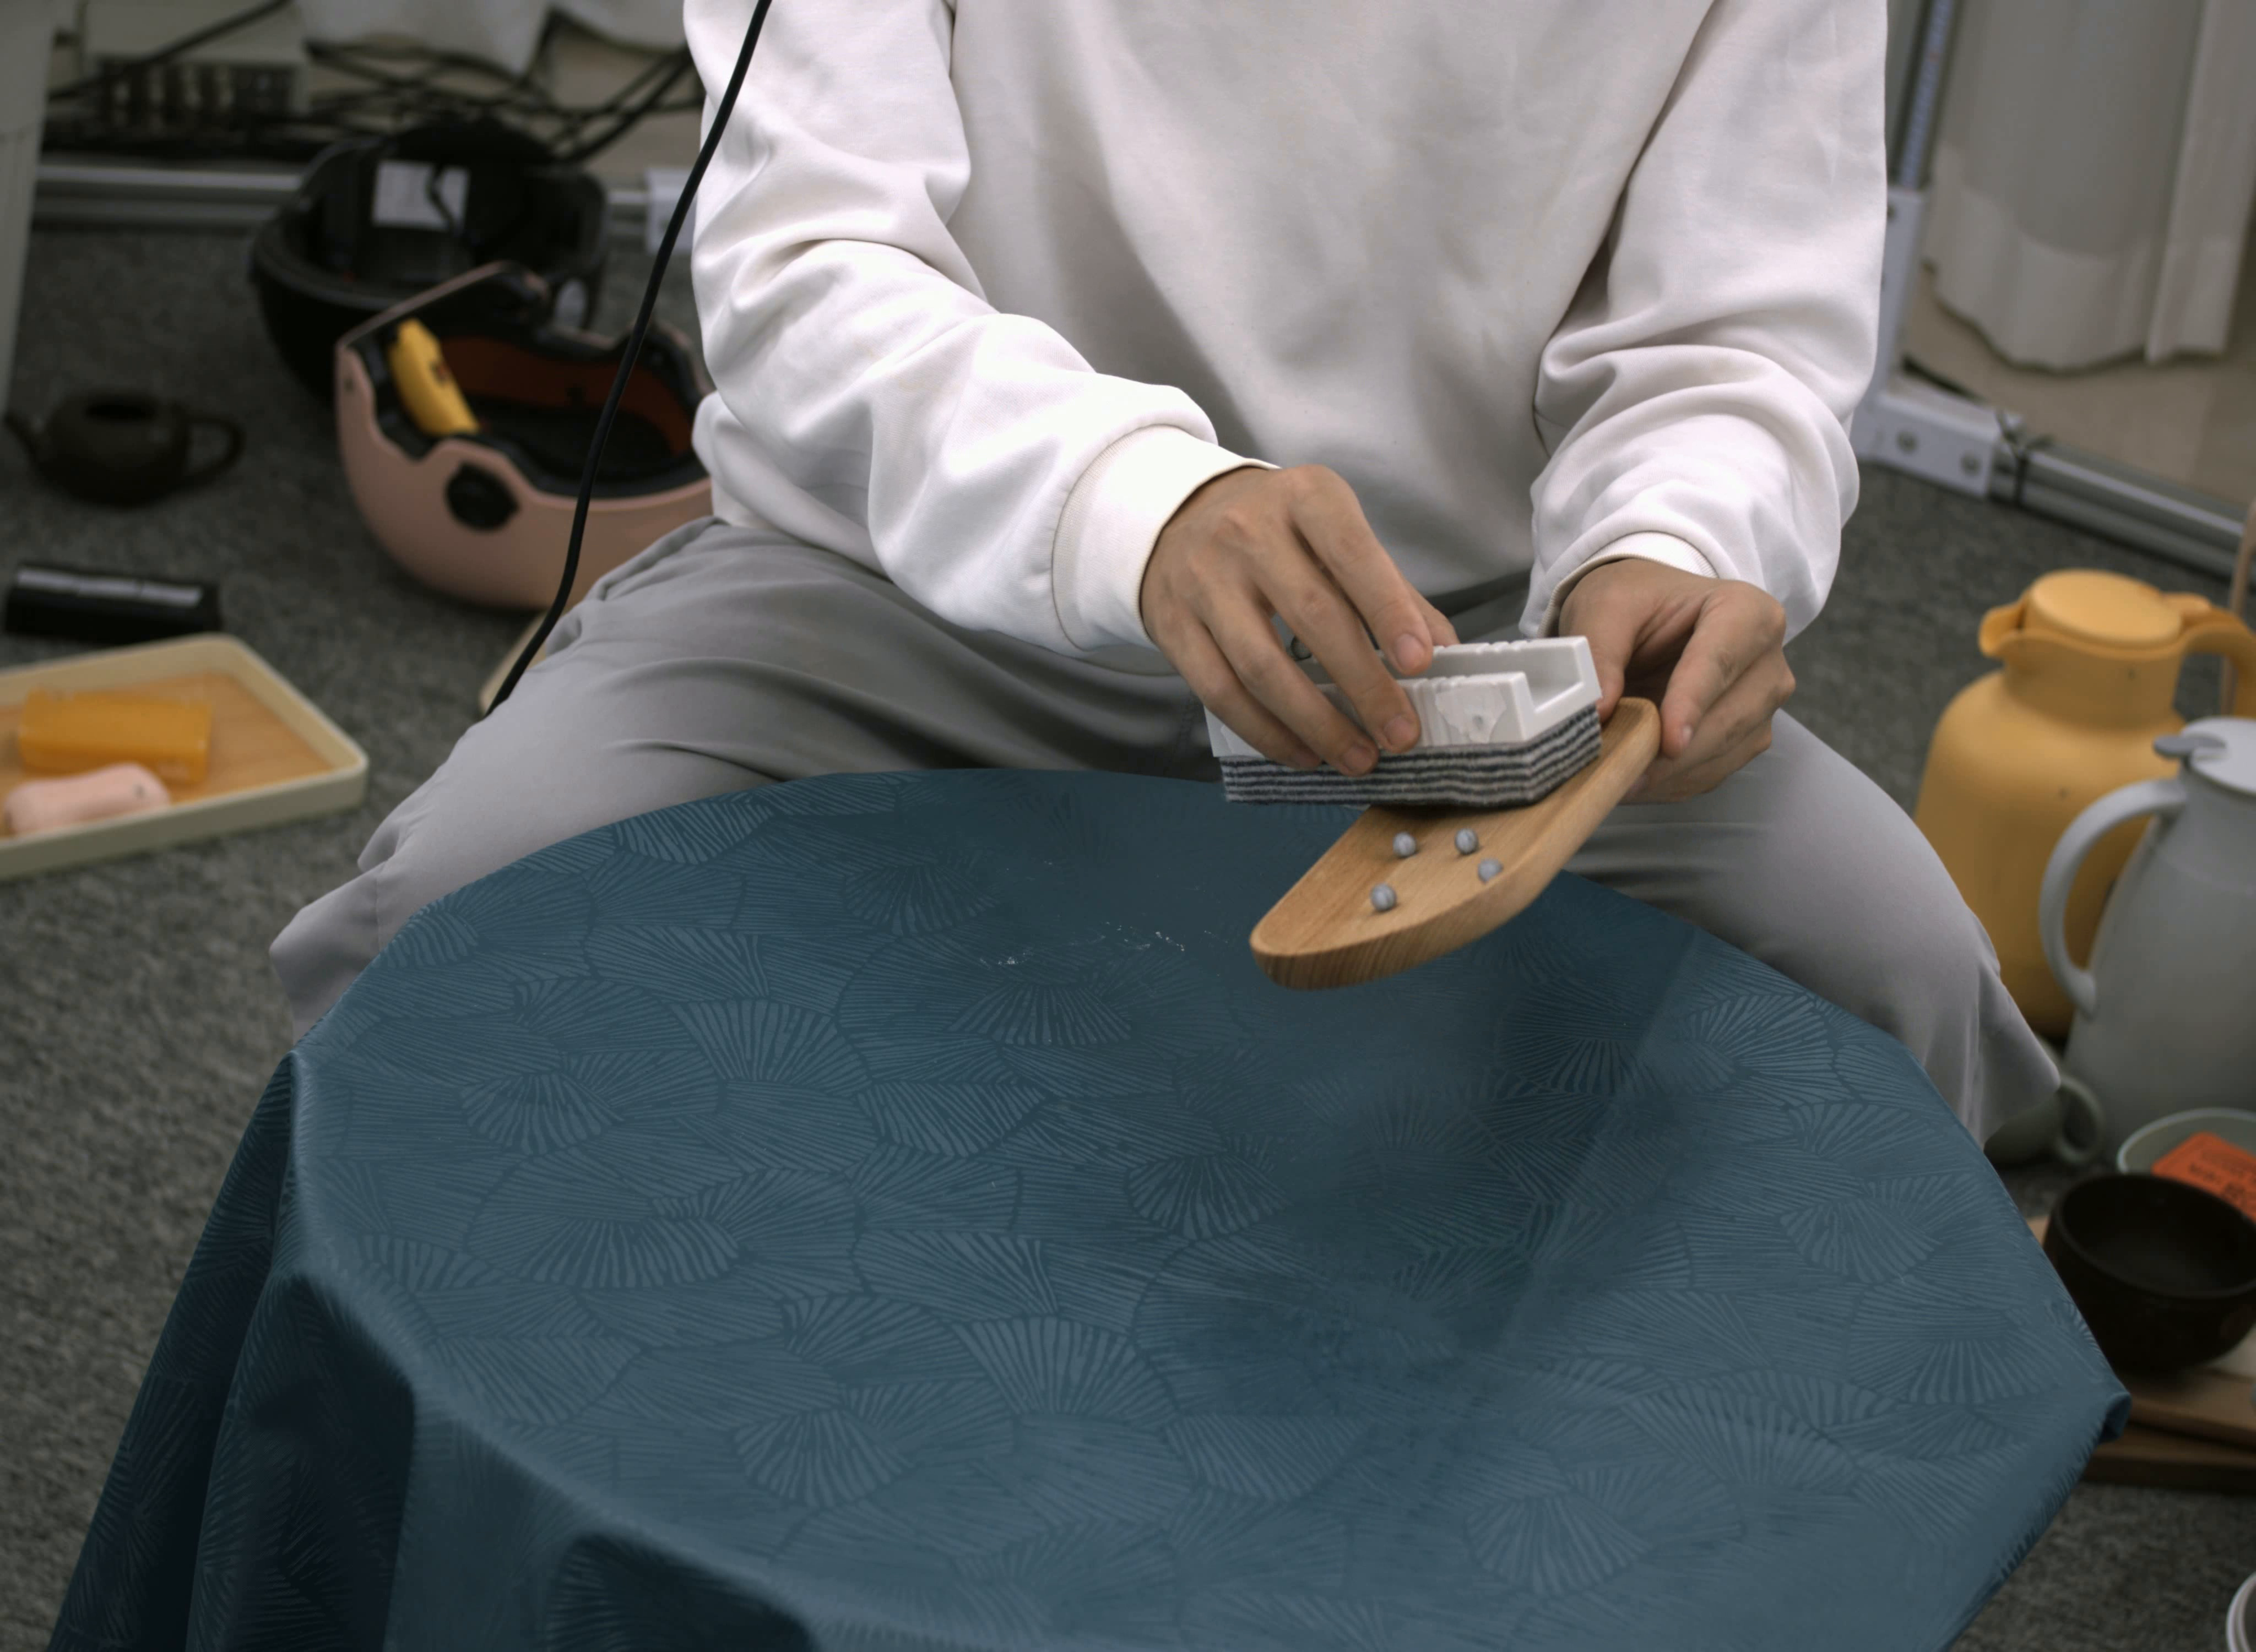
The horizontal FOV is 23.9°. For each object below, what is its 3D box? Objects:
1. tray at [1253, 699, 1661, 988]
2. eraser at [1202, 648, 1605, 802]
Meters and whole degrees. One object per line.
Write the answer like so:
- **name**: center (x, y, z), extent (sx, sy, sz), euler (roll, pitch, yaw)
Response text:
- **tray**: center (0.113, 0.004, 1.782), extent (0.102, 0.020, 0.231), euler (-13, 13, 26)
- **eraser**: center (0.096, -0.035, 1.844), extent (0.135, 0.046, 0.049), euler (0, 14, 36)
